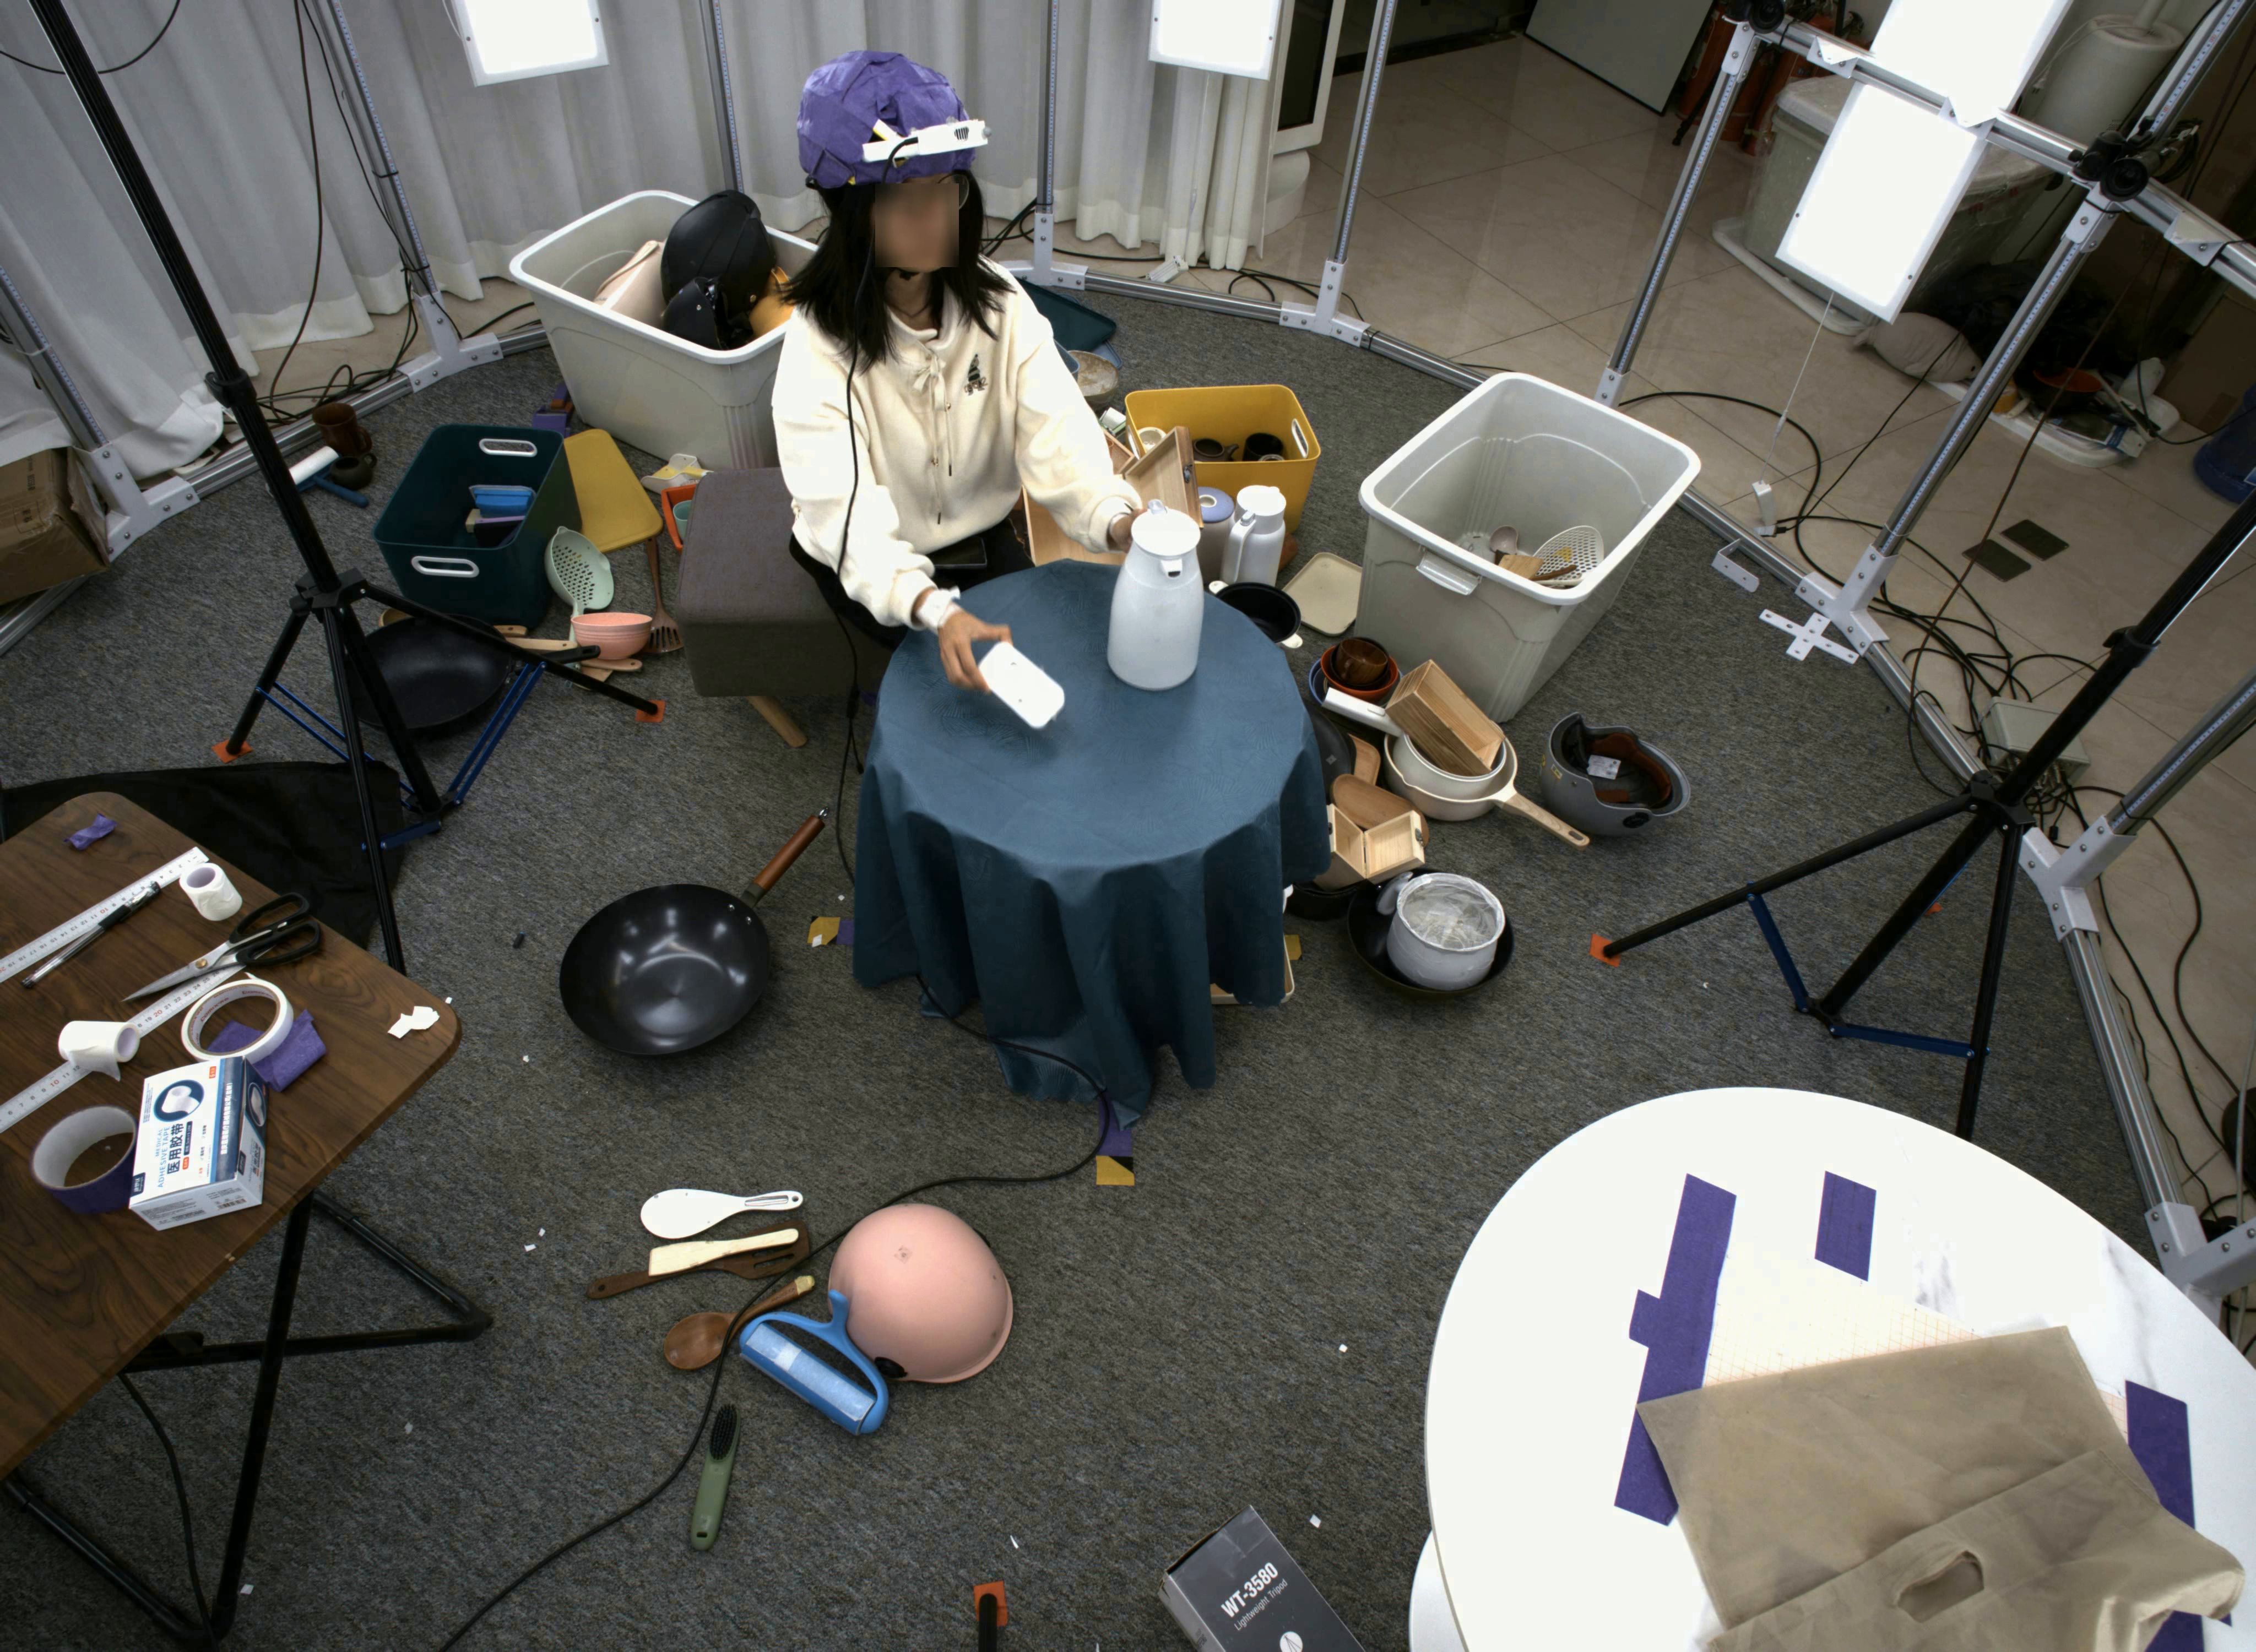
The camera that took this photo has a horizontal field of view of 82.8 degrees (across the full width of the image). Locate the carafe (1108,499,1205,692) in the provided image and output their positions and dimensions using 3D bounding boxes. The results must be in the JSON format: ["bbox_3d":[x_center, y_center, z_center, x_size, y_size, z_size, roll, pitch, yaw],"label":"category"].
[{"bbox_3d":[0.039,-0.333,1.797,0.132,0.243,0.172,-7,52,-10],"label":"carafe"}]

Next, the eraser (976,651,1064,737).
[{"bbox_3d":[-0.146,-0.181,1.749,0.063,0.034,0.133,-44,71,-7],"label":"eraser"}]
